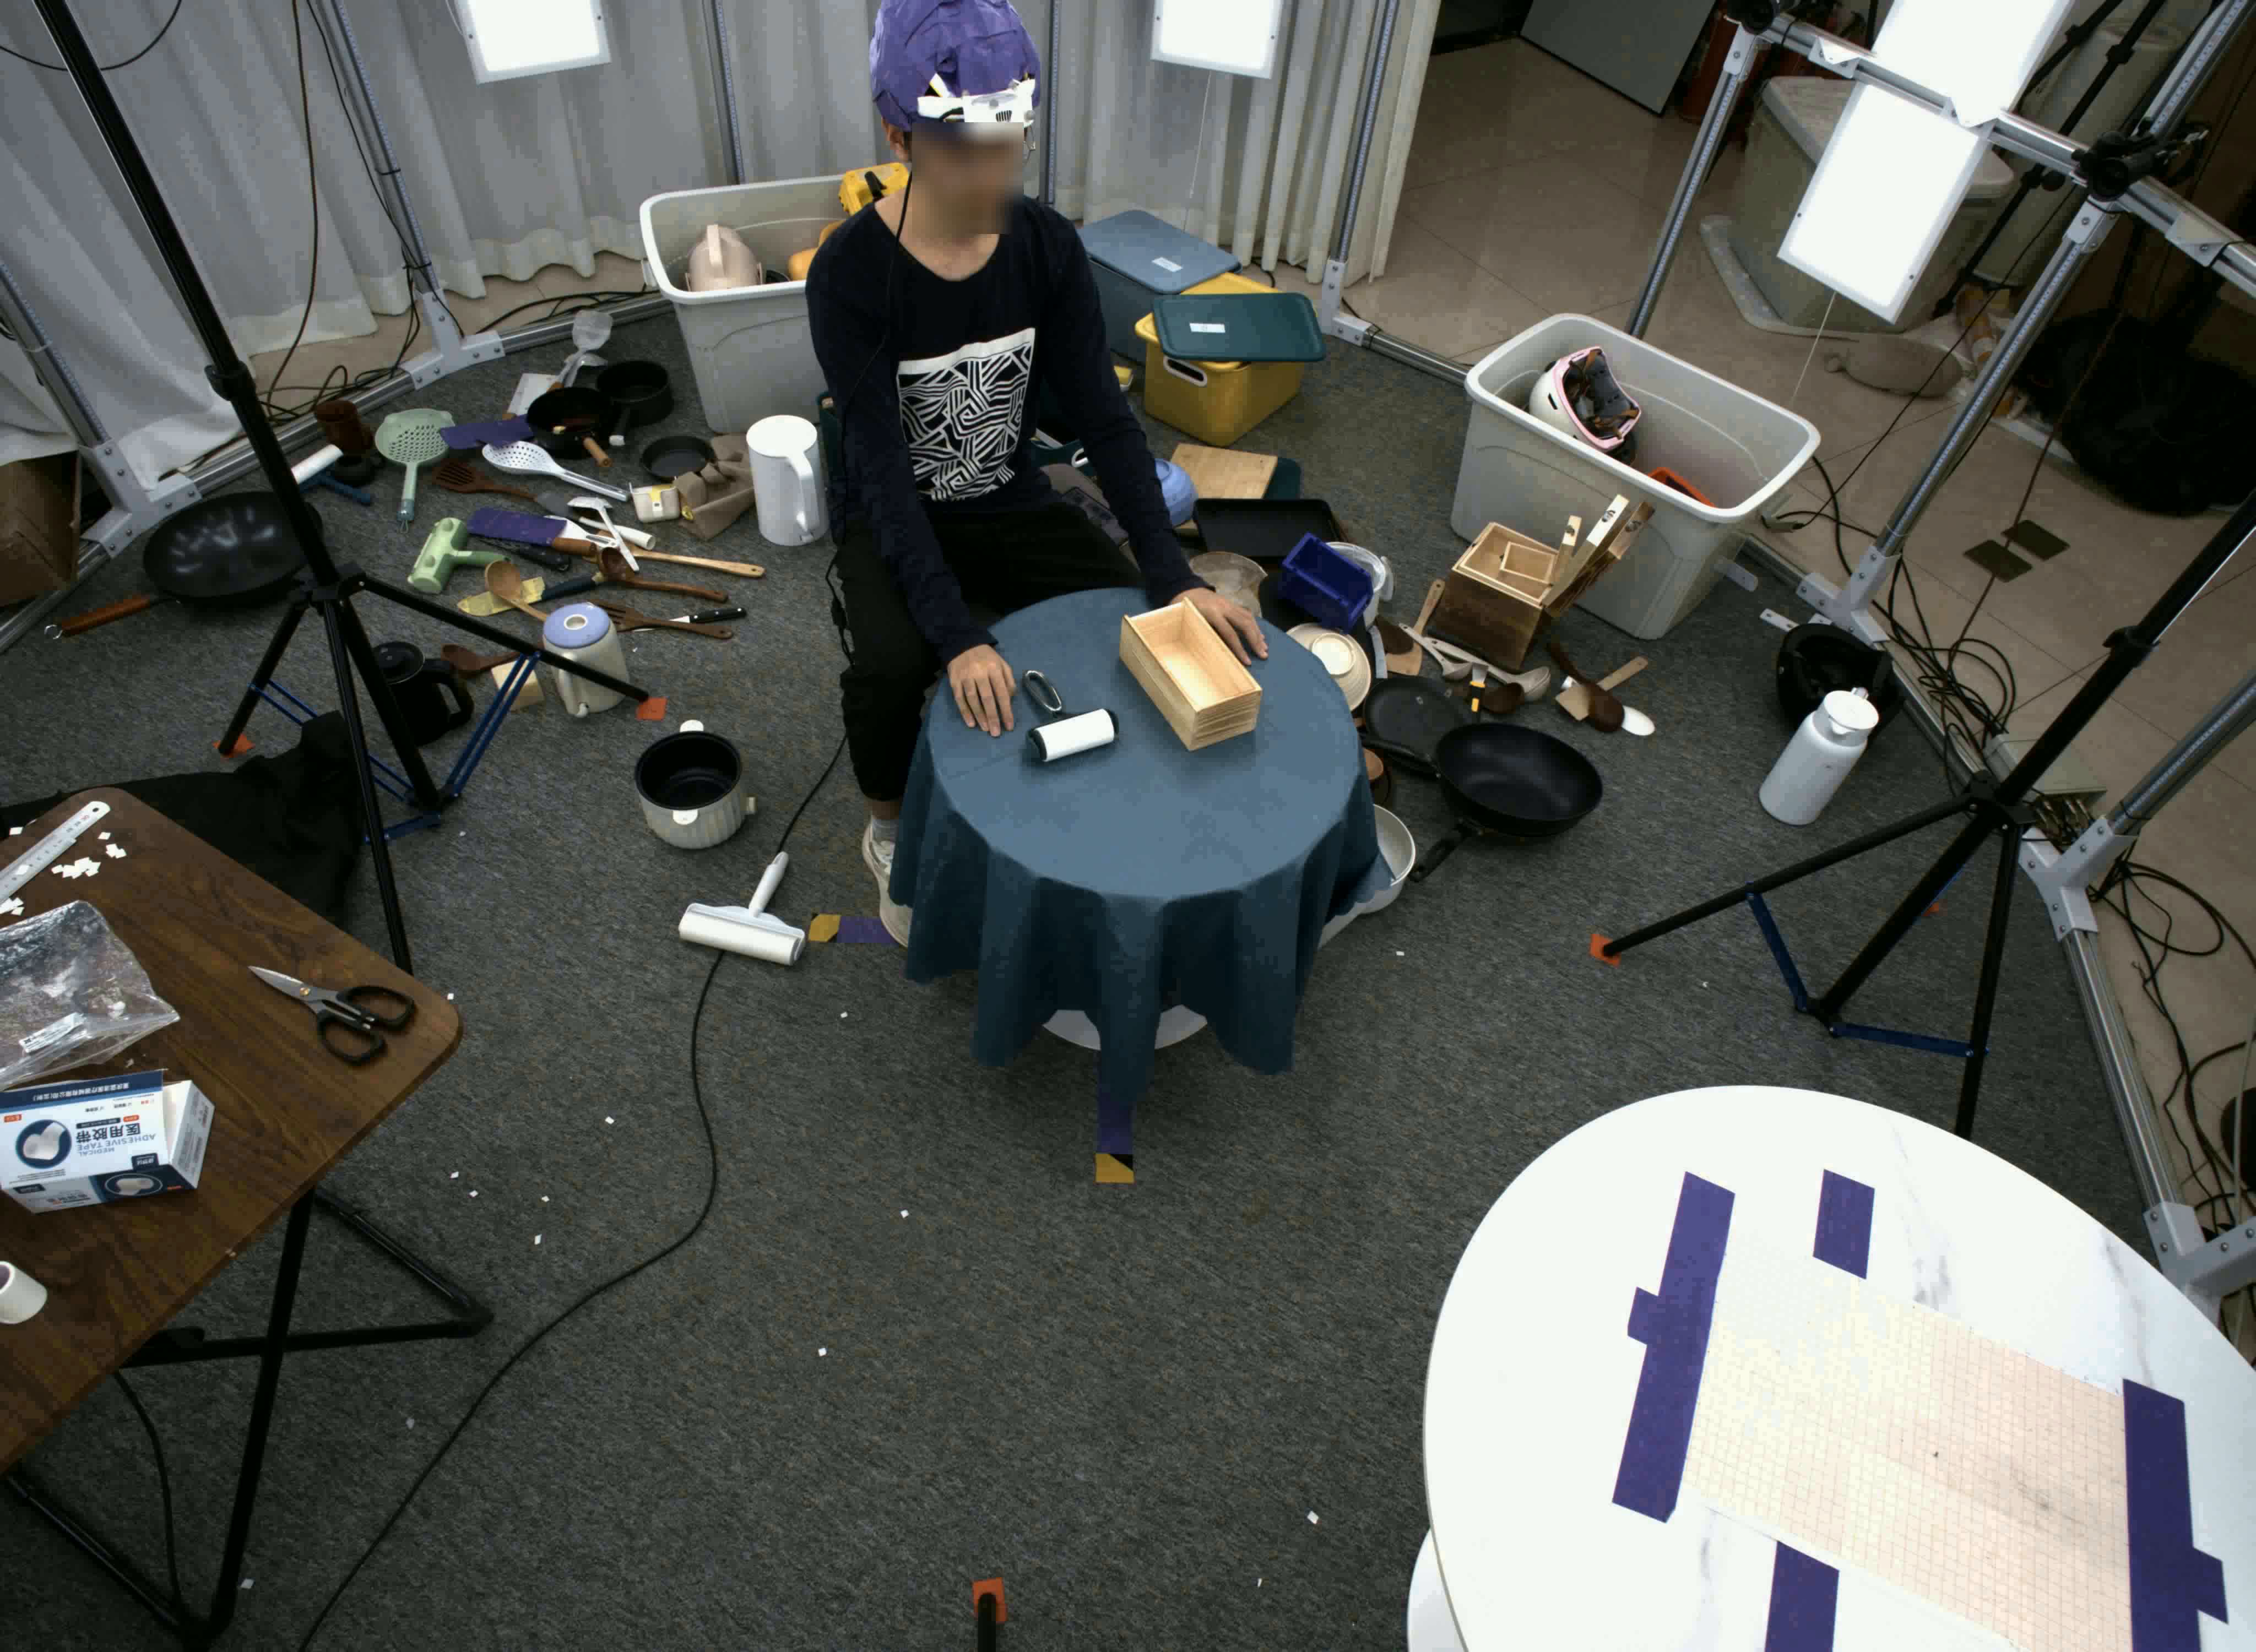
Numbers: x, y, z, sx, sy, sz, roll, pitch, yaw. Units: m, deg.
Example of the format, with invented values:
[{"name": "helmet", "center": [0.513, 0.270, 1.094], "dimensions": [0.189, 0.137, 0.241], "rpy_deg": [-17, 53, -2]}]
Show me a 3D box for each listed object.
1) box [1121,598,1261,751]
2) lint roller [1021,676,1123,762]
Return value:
[{"name": "box", "center": [0.085, -0.216, 1.809], "dimensions": [0.108, 0.078, 0.216], "rpy_deg": [-20, 52, -19]}, {"name": "lint roller", "center": [-0.104, -0.168, 1.780], "dimensions": [0.134, 0.047, 0.184], "rpy_deg": [-18, 50, -19]}]
